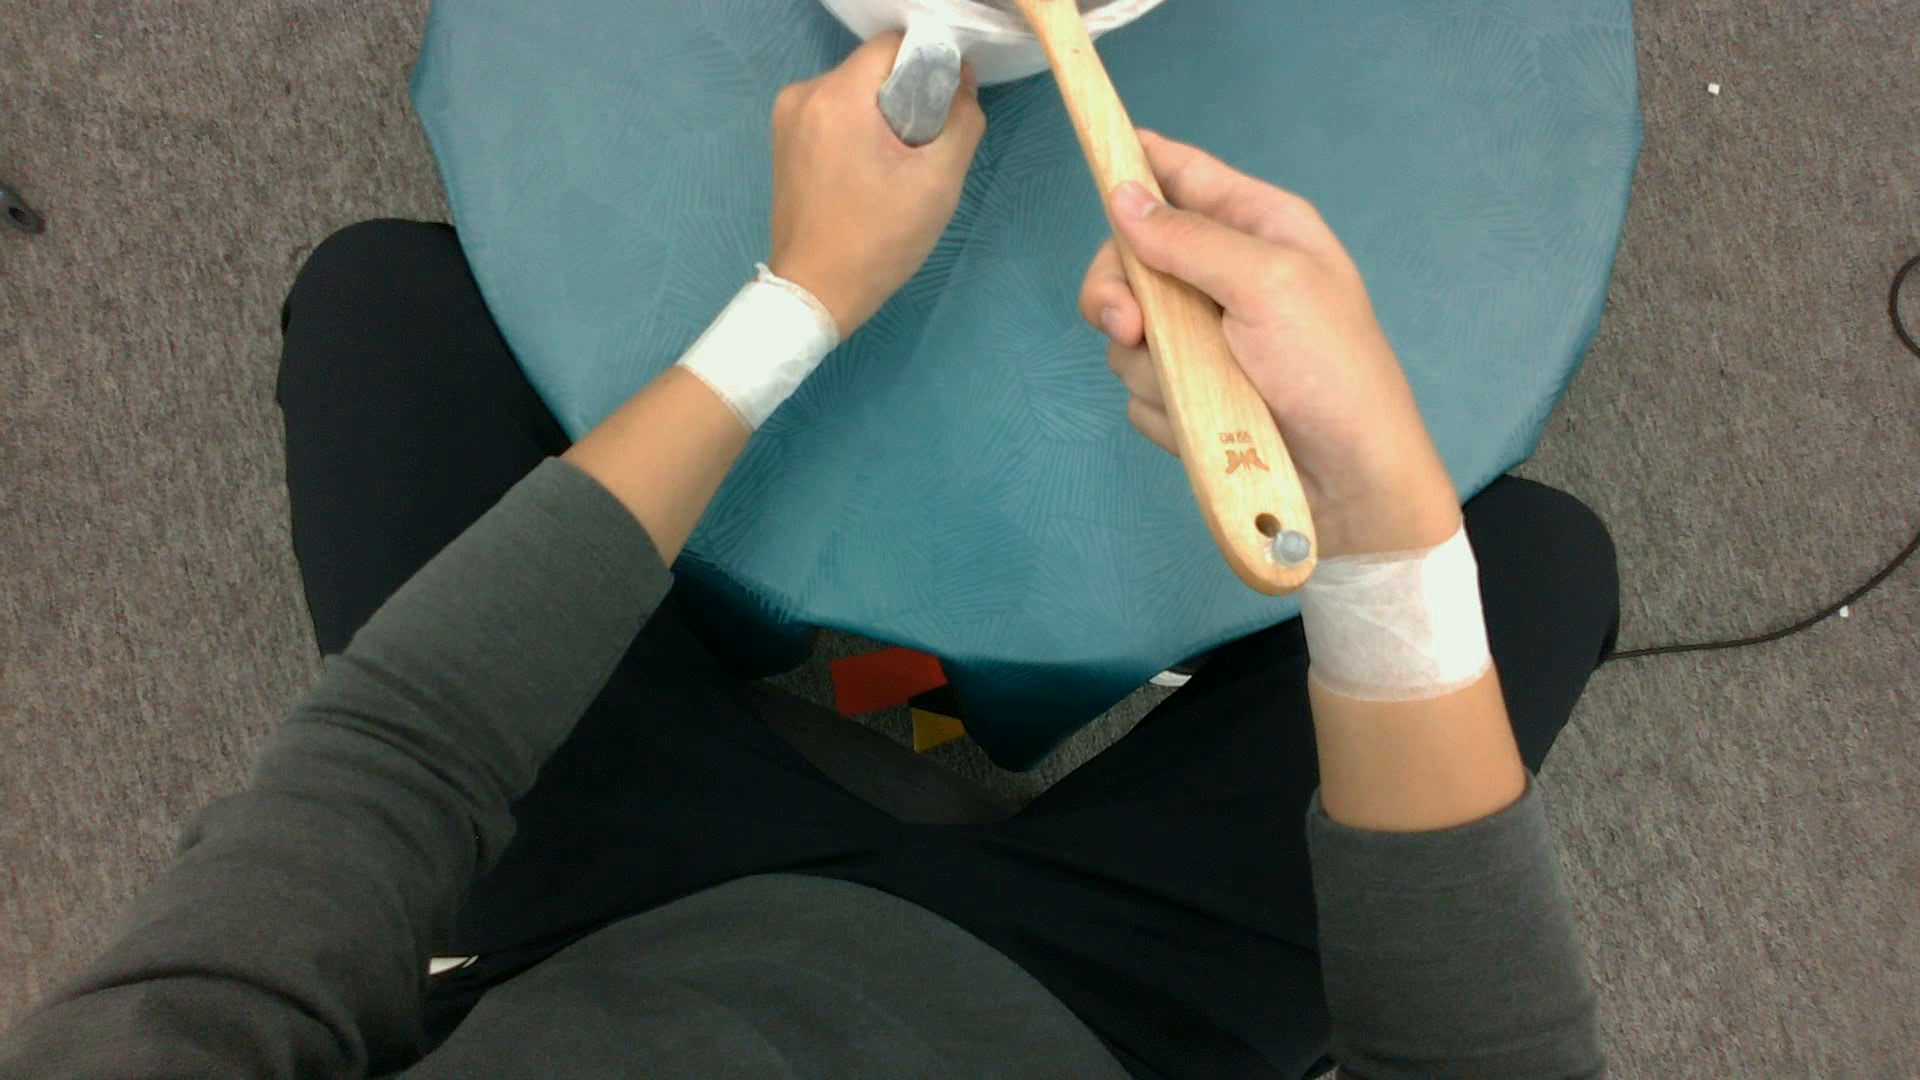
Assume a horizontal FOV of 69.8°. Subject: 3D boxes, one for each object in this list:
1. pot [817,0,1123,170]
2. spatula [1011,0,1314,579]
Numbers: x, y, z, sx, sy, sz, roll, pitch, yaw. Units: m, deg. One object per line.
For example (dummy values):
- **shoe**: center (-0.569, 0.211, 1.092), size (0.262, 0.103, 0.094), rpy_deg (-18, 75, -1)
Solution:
- **pot**: center (0.000, -0.271, 0.578), size (0.179, 0.136, 0.233), rpy_deg (18, 96, -16)
- **spatula**: center (0.049, -0.150, 0.480), size (0.096, 0.018, 0.392), rpy_deg (-6, 54, -15)
